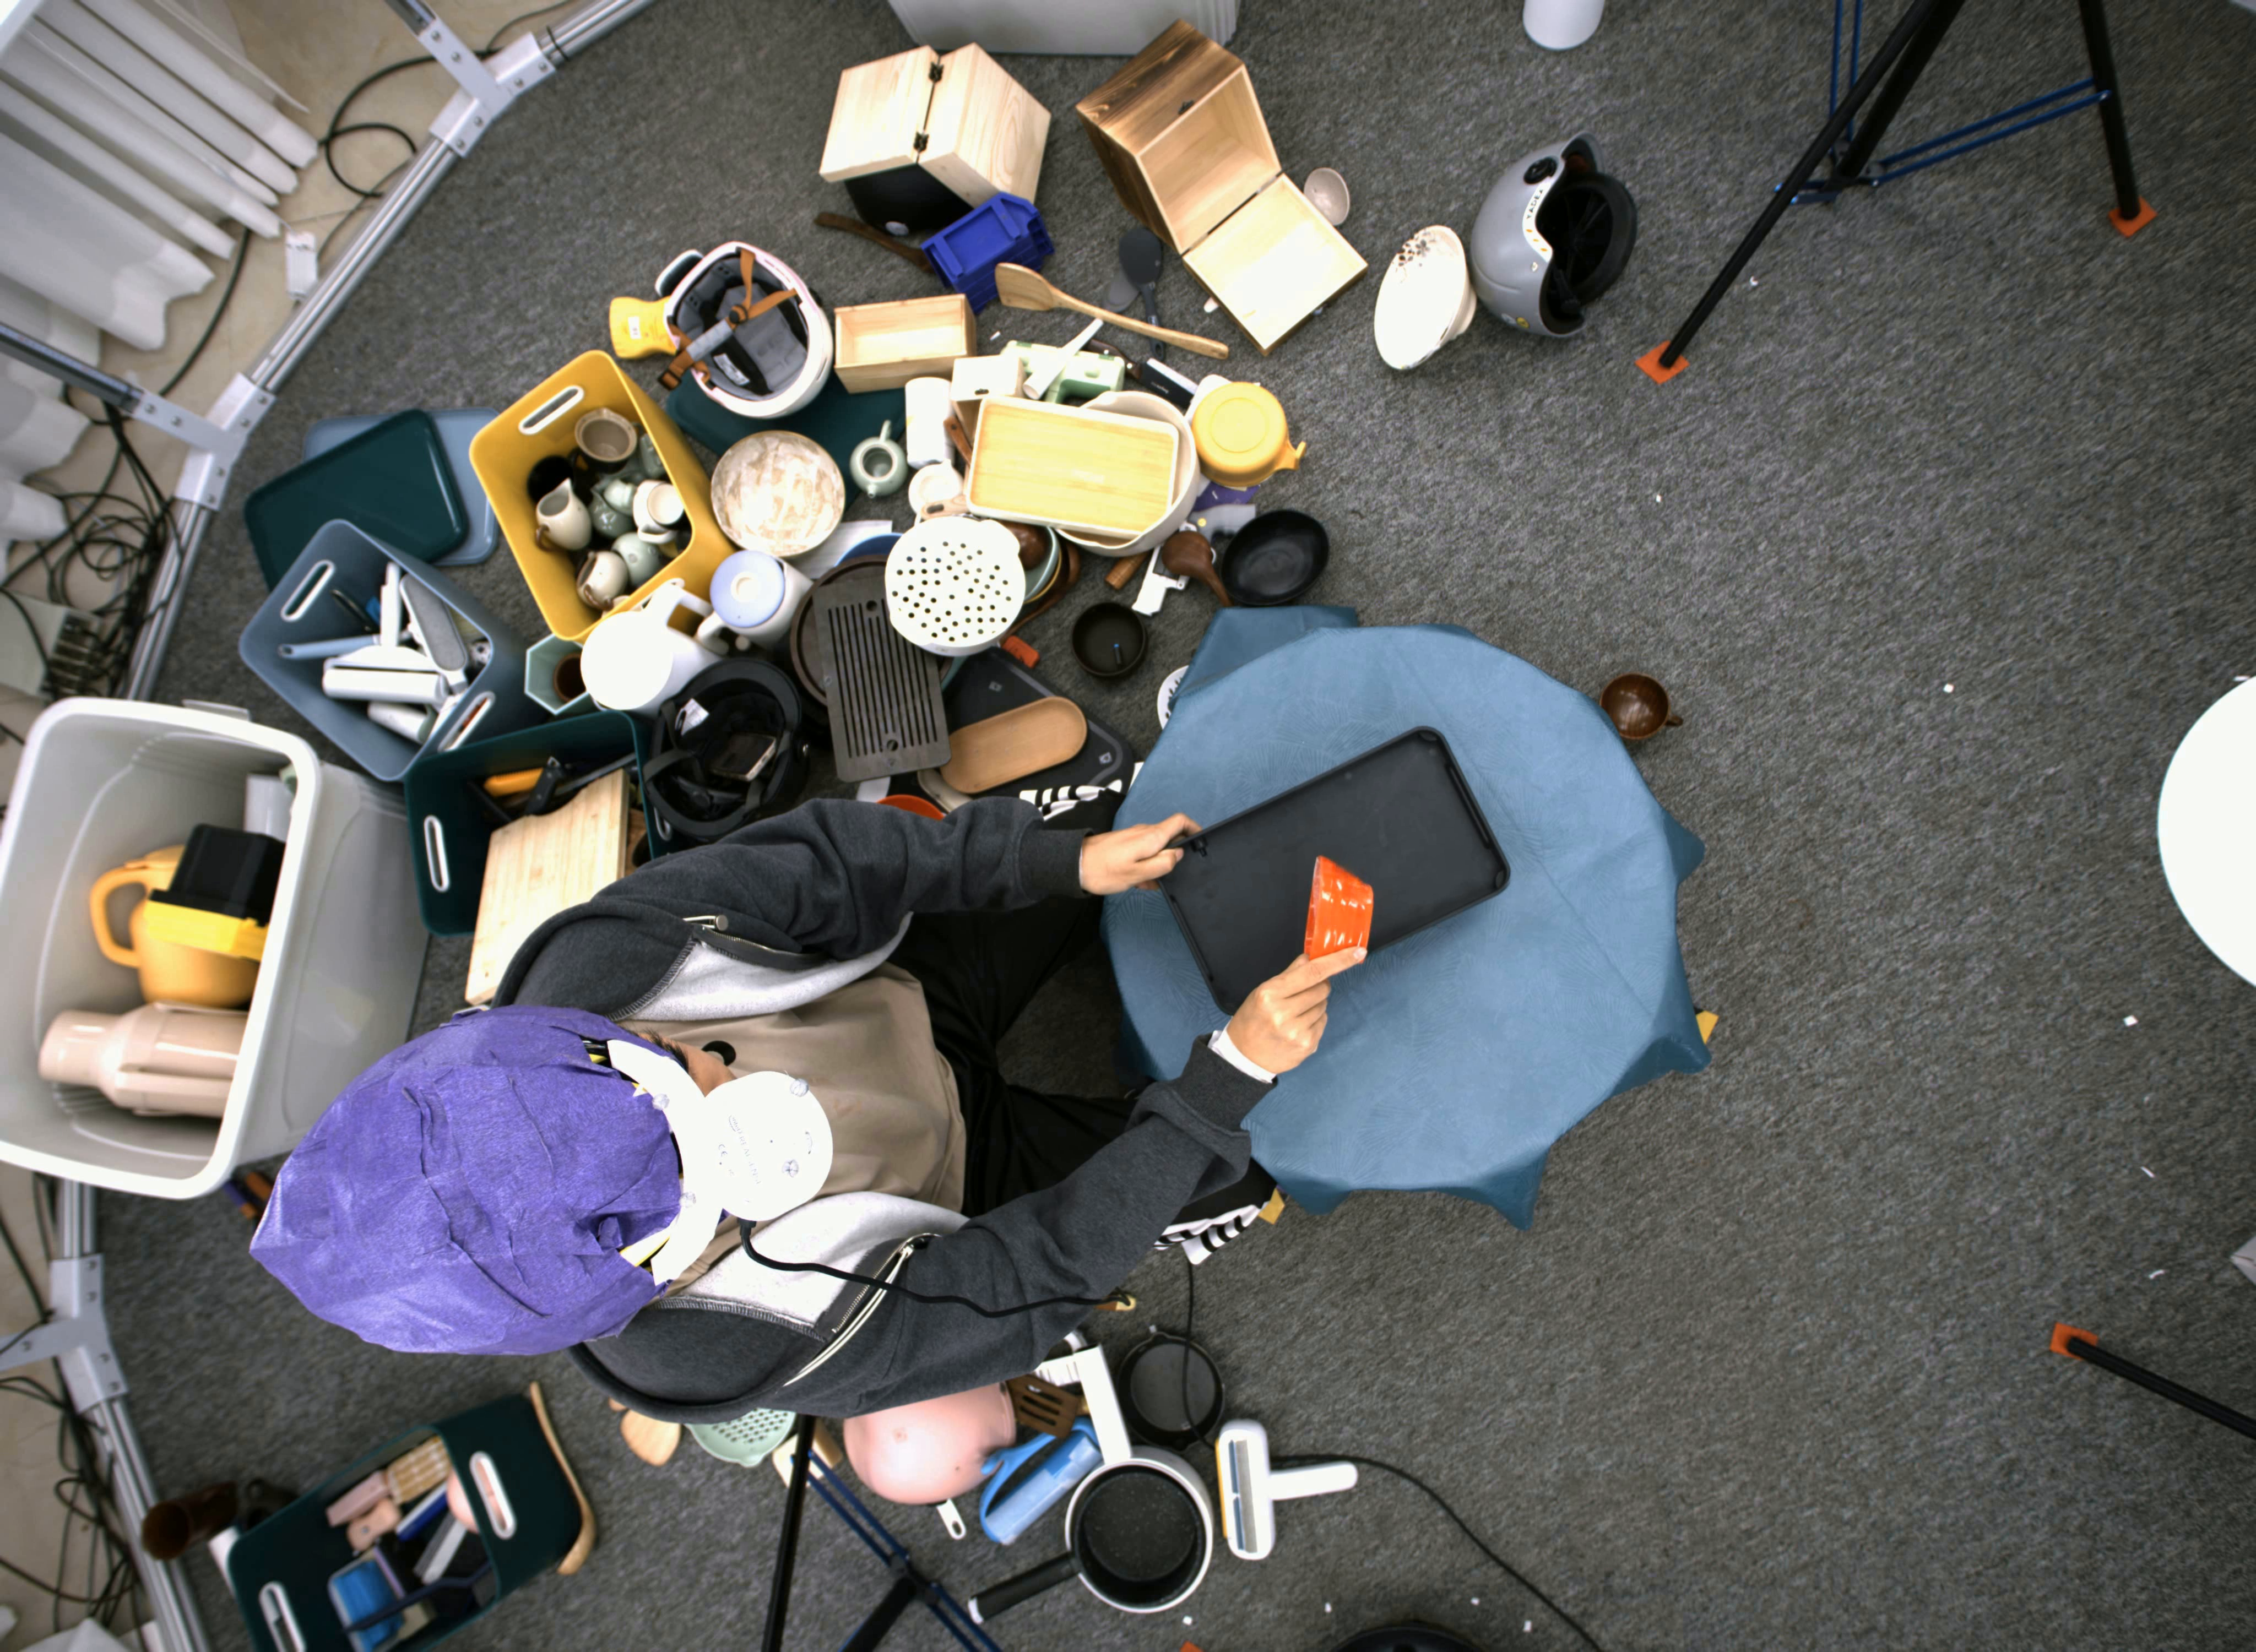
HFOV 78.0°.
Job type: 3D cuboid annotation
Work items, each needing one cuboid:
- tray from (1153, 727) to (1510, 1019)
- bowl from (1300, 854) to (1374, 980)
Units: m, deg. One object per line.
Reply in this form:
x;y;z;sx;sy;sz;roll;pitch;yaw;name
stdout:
0.199;0.046;1.369;0.318;0.037;0.183;-26;86;2;tray
0.189;0.084;1.250;0.051;0.119;0.118;9;86;2;bowl
